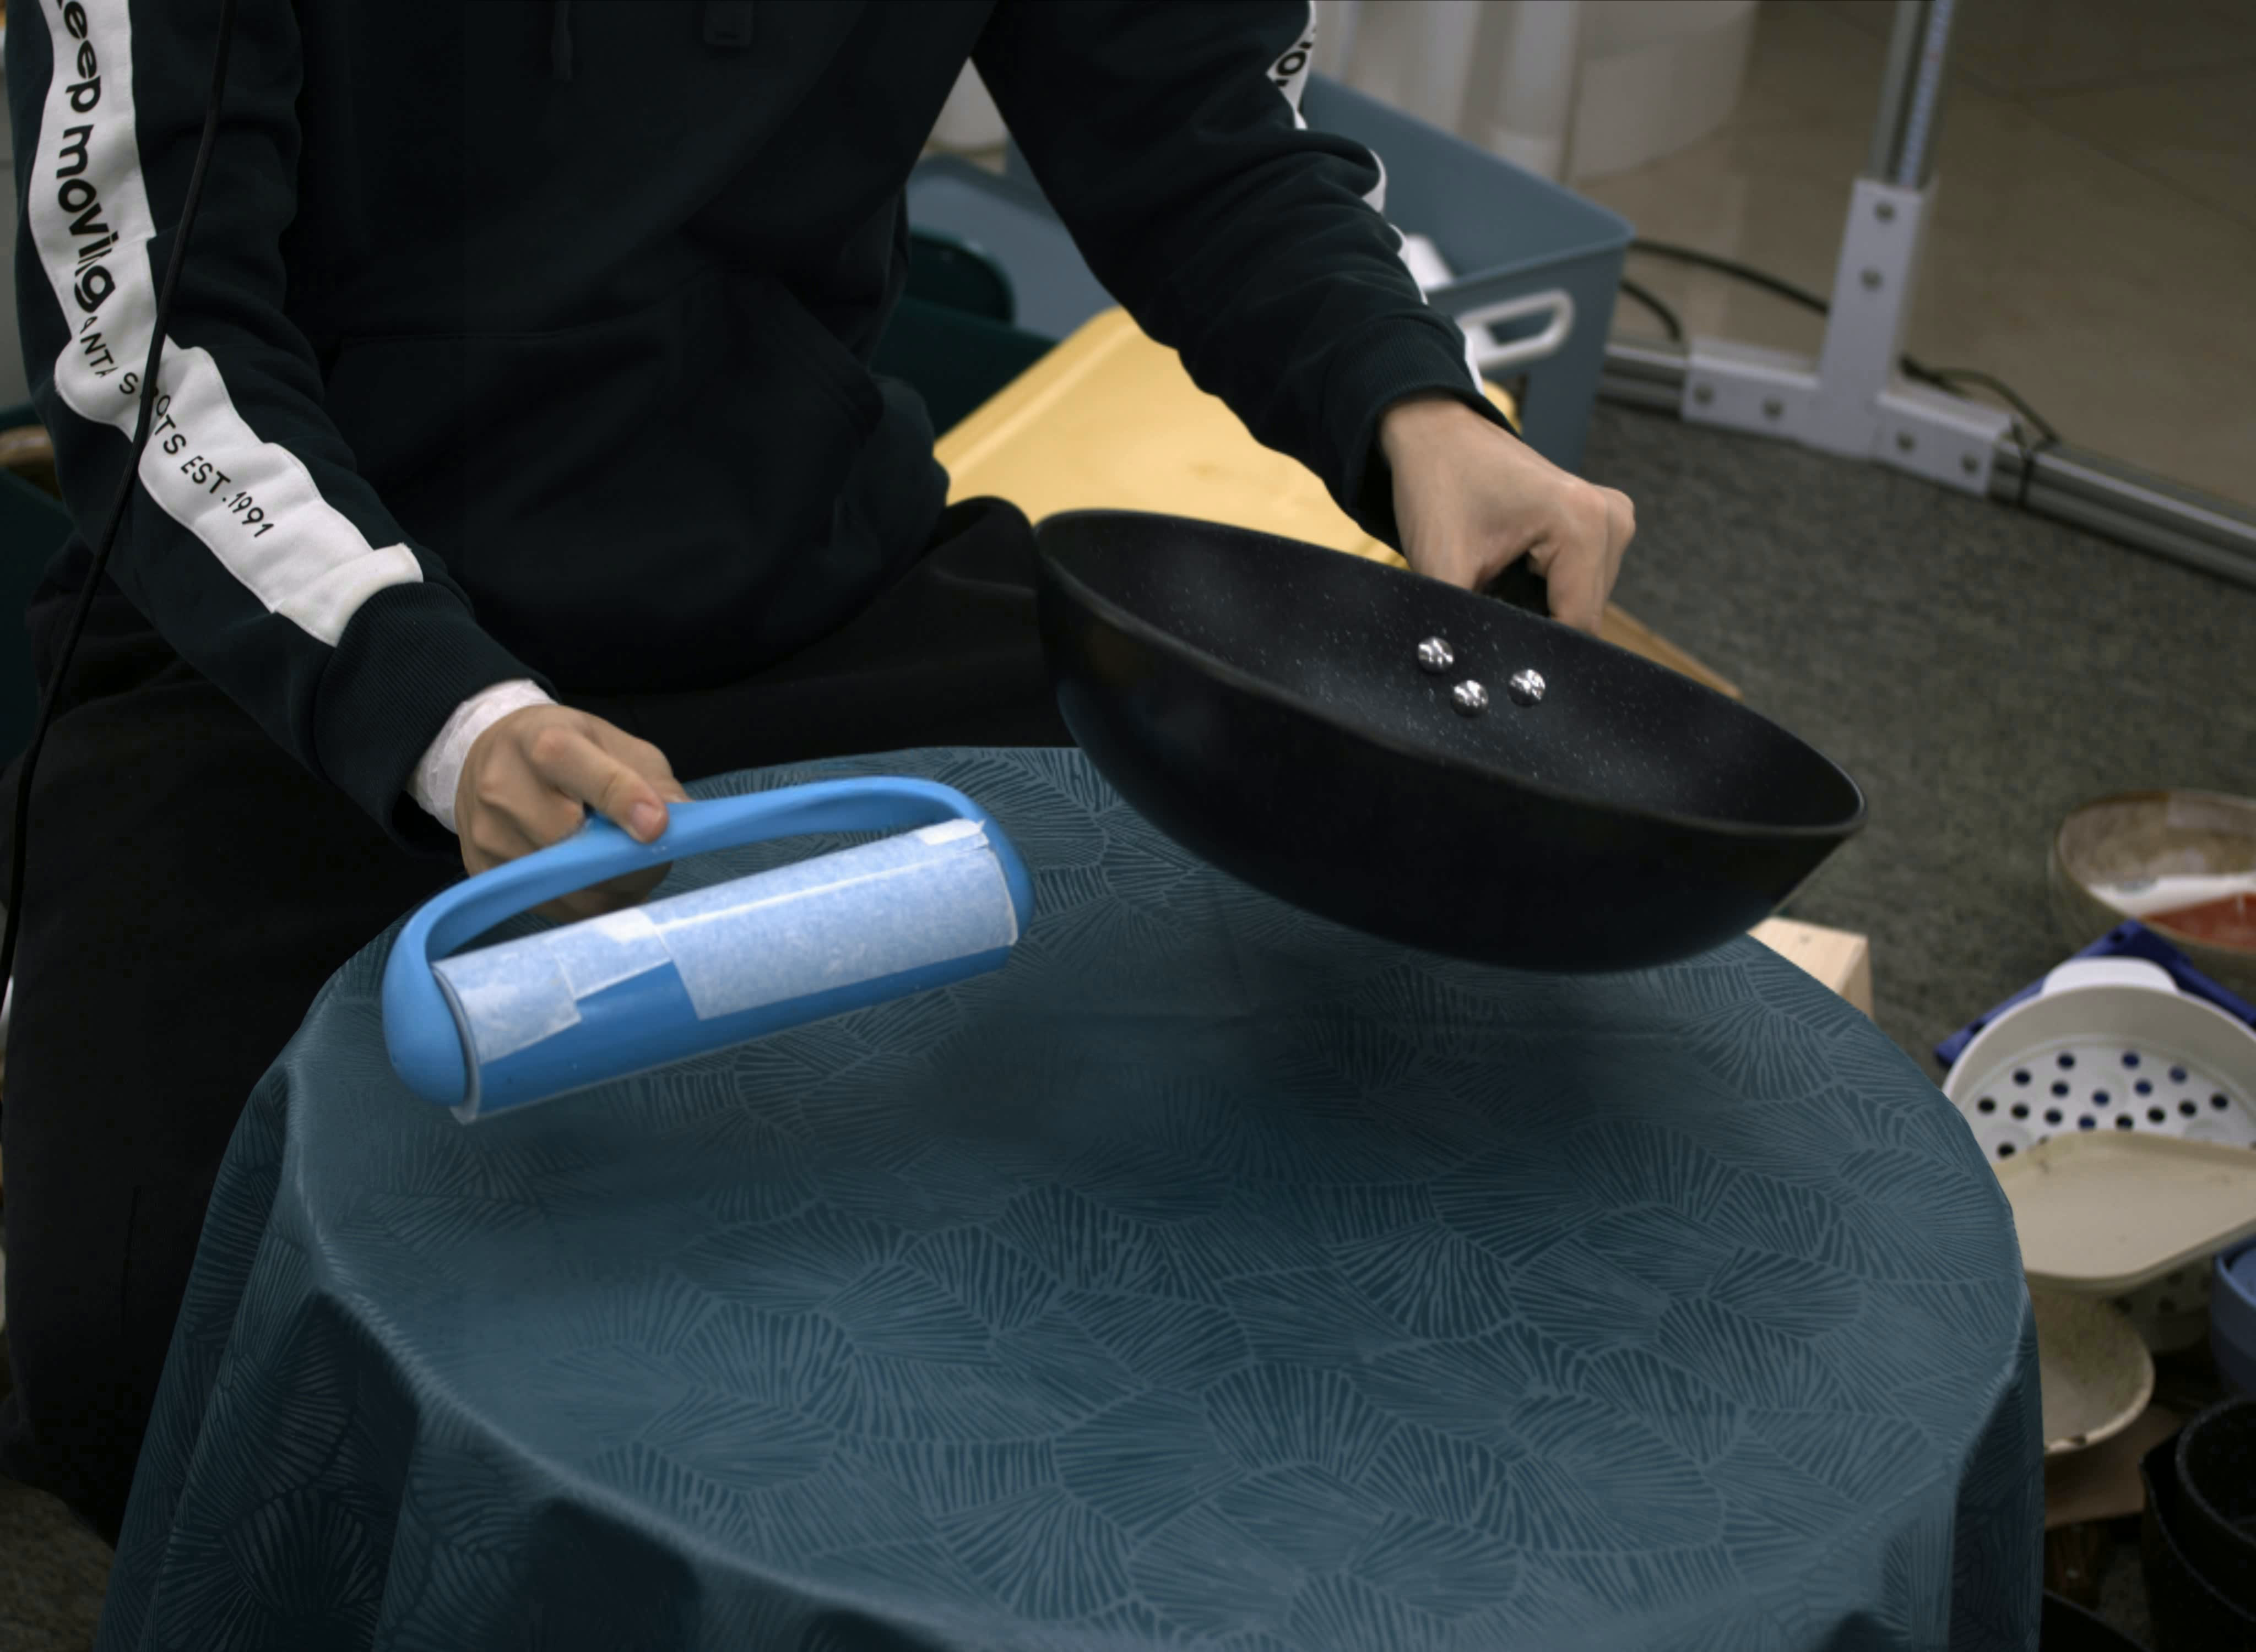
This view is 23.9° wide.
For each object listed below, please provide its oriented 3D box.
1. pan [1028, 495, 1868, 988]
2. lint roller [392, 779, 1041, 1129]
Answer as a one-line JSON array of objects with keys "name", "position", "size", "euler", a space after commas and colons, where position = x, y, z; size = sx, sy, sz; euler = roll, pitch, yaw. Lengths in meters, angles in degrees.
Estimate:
[{"name": "pan", "position": [0.117, -0.041, 1.934], "size": [0.310, 0.111, 0.477], "euler": [21, 13, 7]}, {"name": "lint roller", "position": [-0.163, 0.027, 1.794], "size": [0.228, 0.067, 0.182], "euler": [-19, 28, -26]}]
